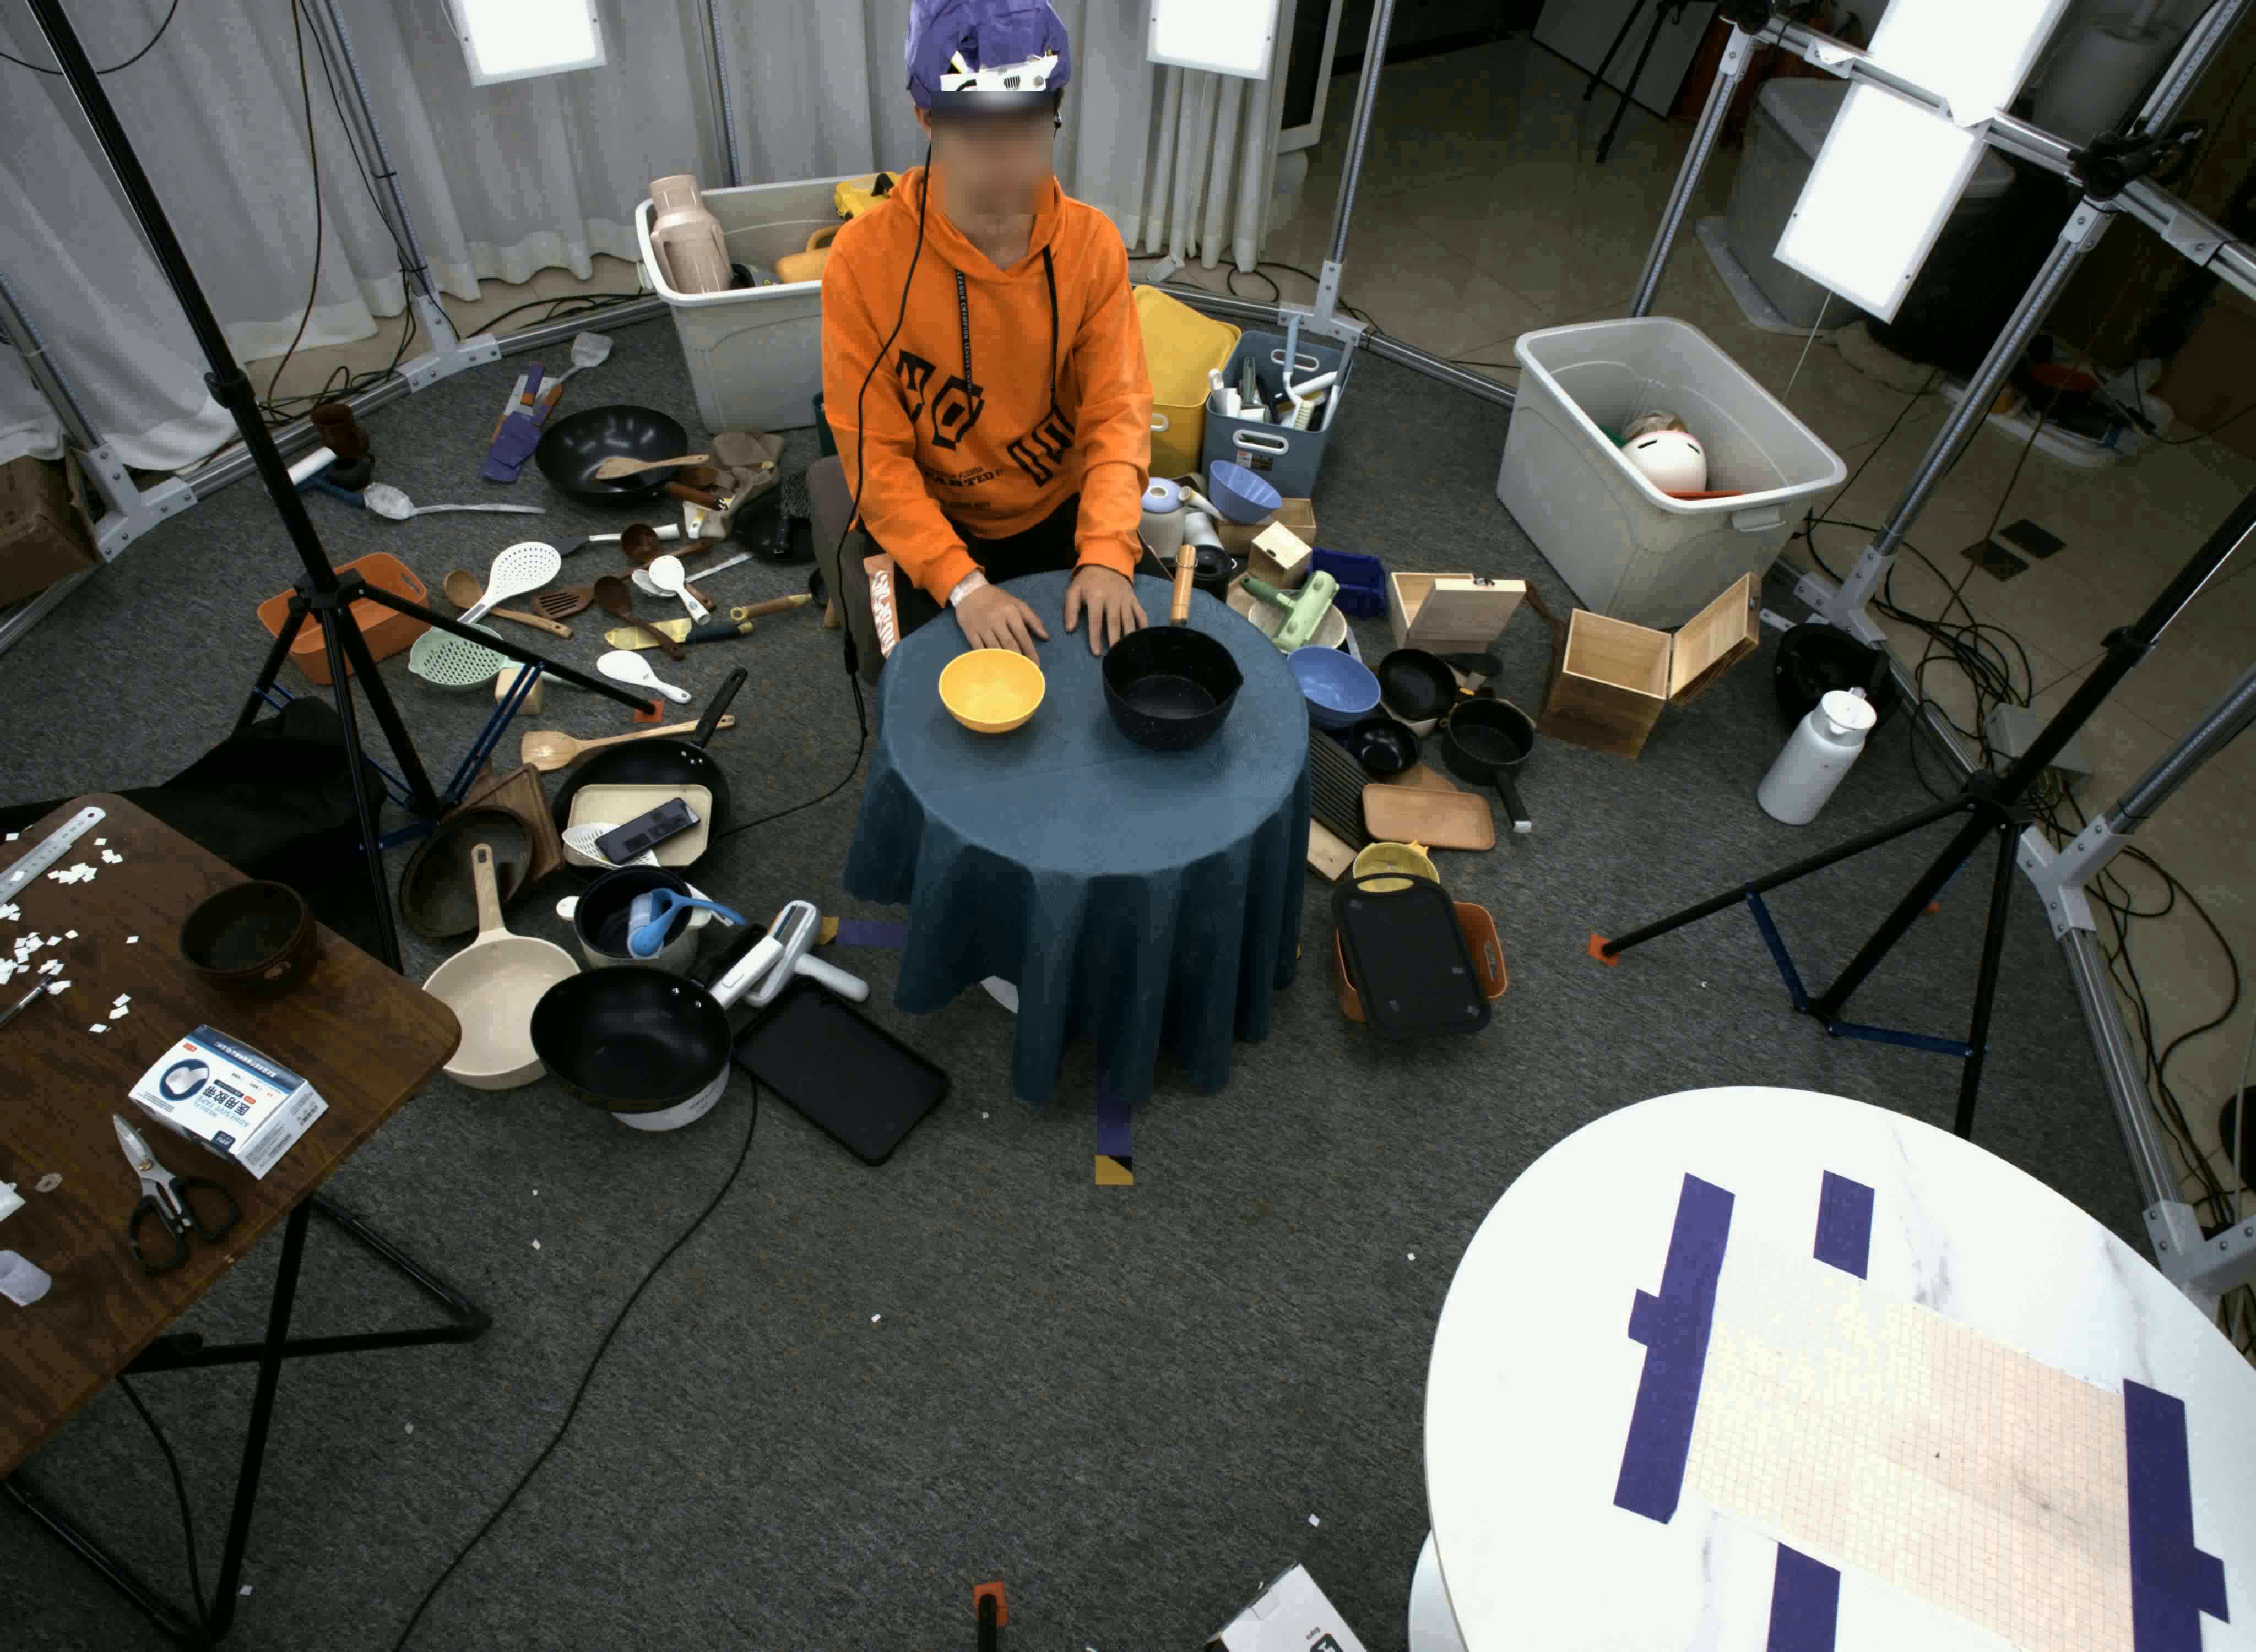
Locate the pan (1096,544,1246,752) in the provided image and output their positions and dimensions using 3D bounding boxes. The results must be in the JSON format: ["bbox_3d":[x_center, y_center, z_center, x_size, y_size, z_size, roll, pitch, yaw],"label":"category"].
[{"bbox_3d":[0.065,-0.254,1.824,0.207,0.105,0.351,6,50,3],"label":"pan"}]

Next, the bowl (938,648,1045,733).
[{"bbox_3d":[-0.188,-0.175,1.771,0.145,0.058,0.149,3,49,-3],"label":"bowl"}]
